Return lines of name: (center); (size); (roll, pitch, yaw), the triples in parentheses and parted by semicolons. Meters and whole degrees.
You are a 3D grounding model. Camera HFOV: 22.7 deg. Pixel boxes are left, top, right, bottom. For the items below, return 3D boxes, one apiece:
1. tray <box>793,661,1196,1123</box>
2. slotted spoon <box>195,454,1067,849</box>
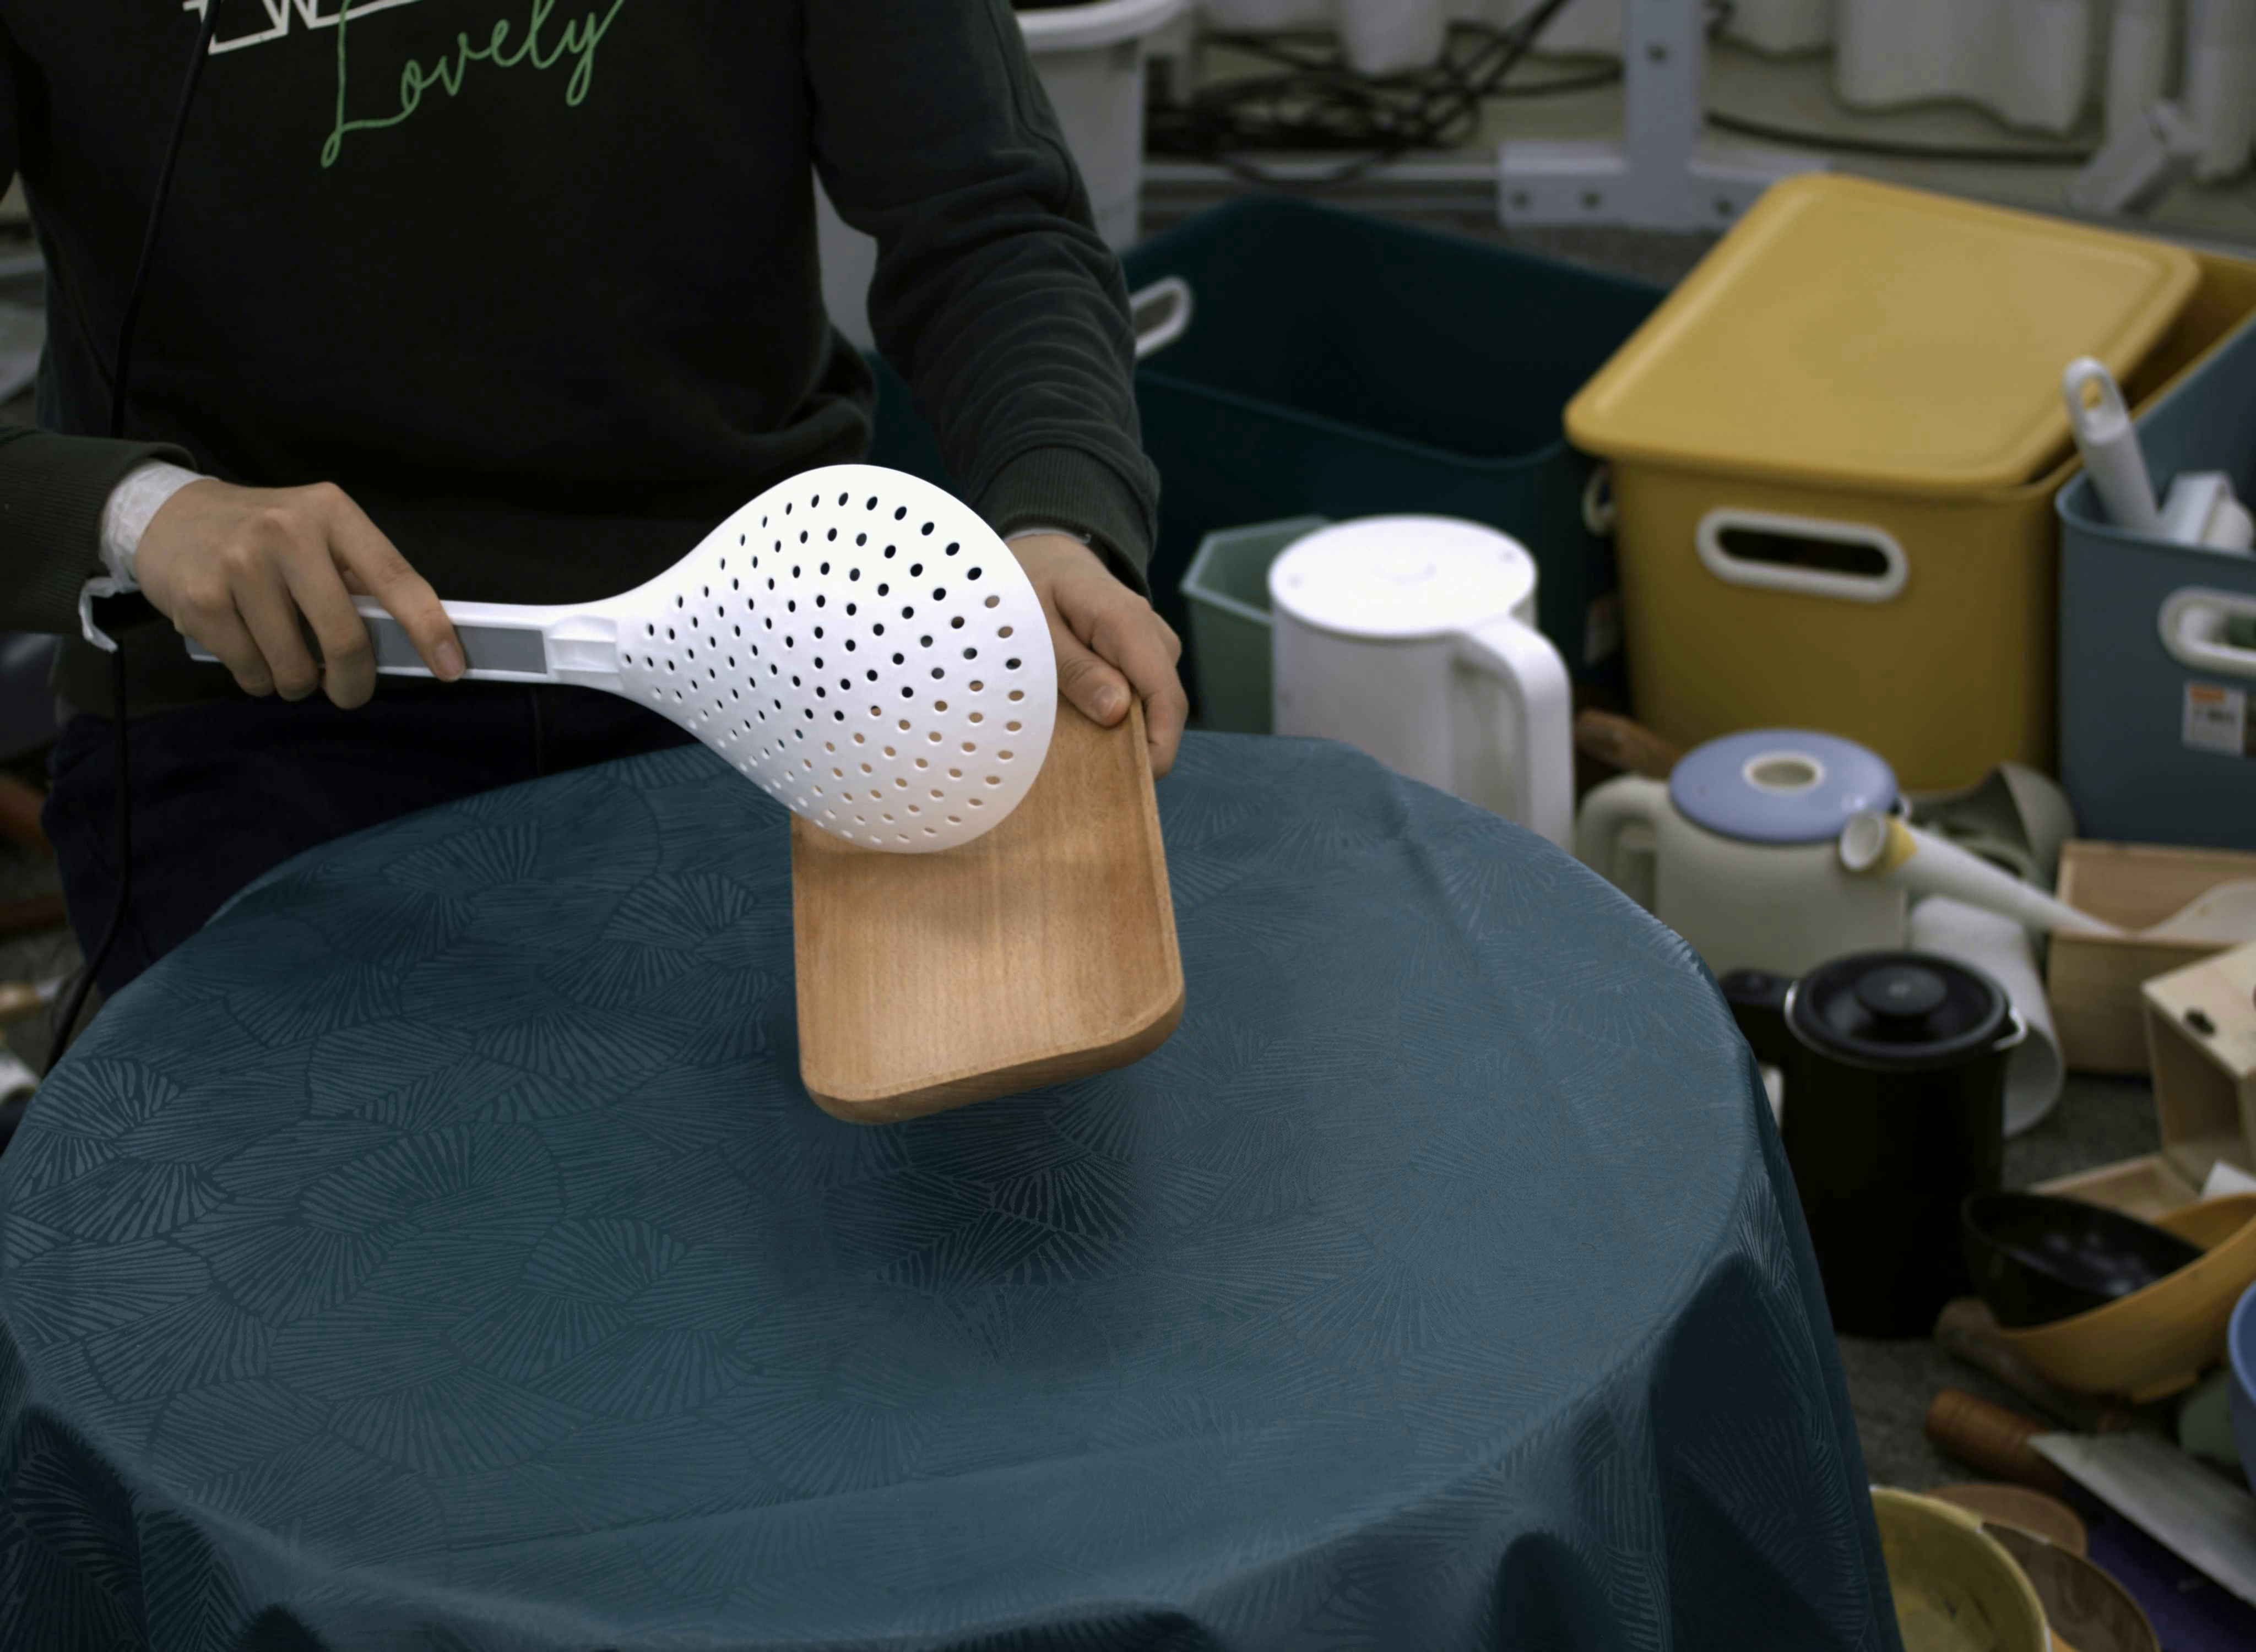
tray: (-0.047, 0.019, 1.884); (0.130, 0.022, 0.254); (-12, 29, 2)
slotted spoon: (-0.178, -0.060, 1.937); (0.347, 0.135, 0.046); (4, 16, 32)
